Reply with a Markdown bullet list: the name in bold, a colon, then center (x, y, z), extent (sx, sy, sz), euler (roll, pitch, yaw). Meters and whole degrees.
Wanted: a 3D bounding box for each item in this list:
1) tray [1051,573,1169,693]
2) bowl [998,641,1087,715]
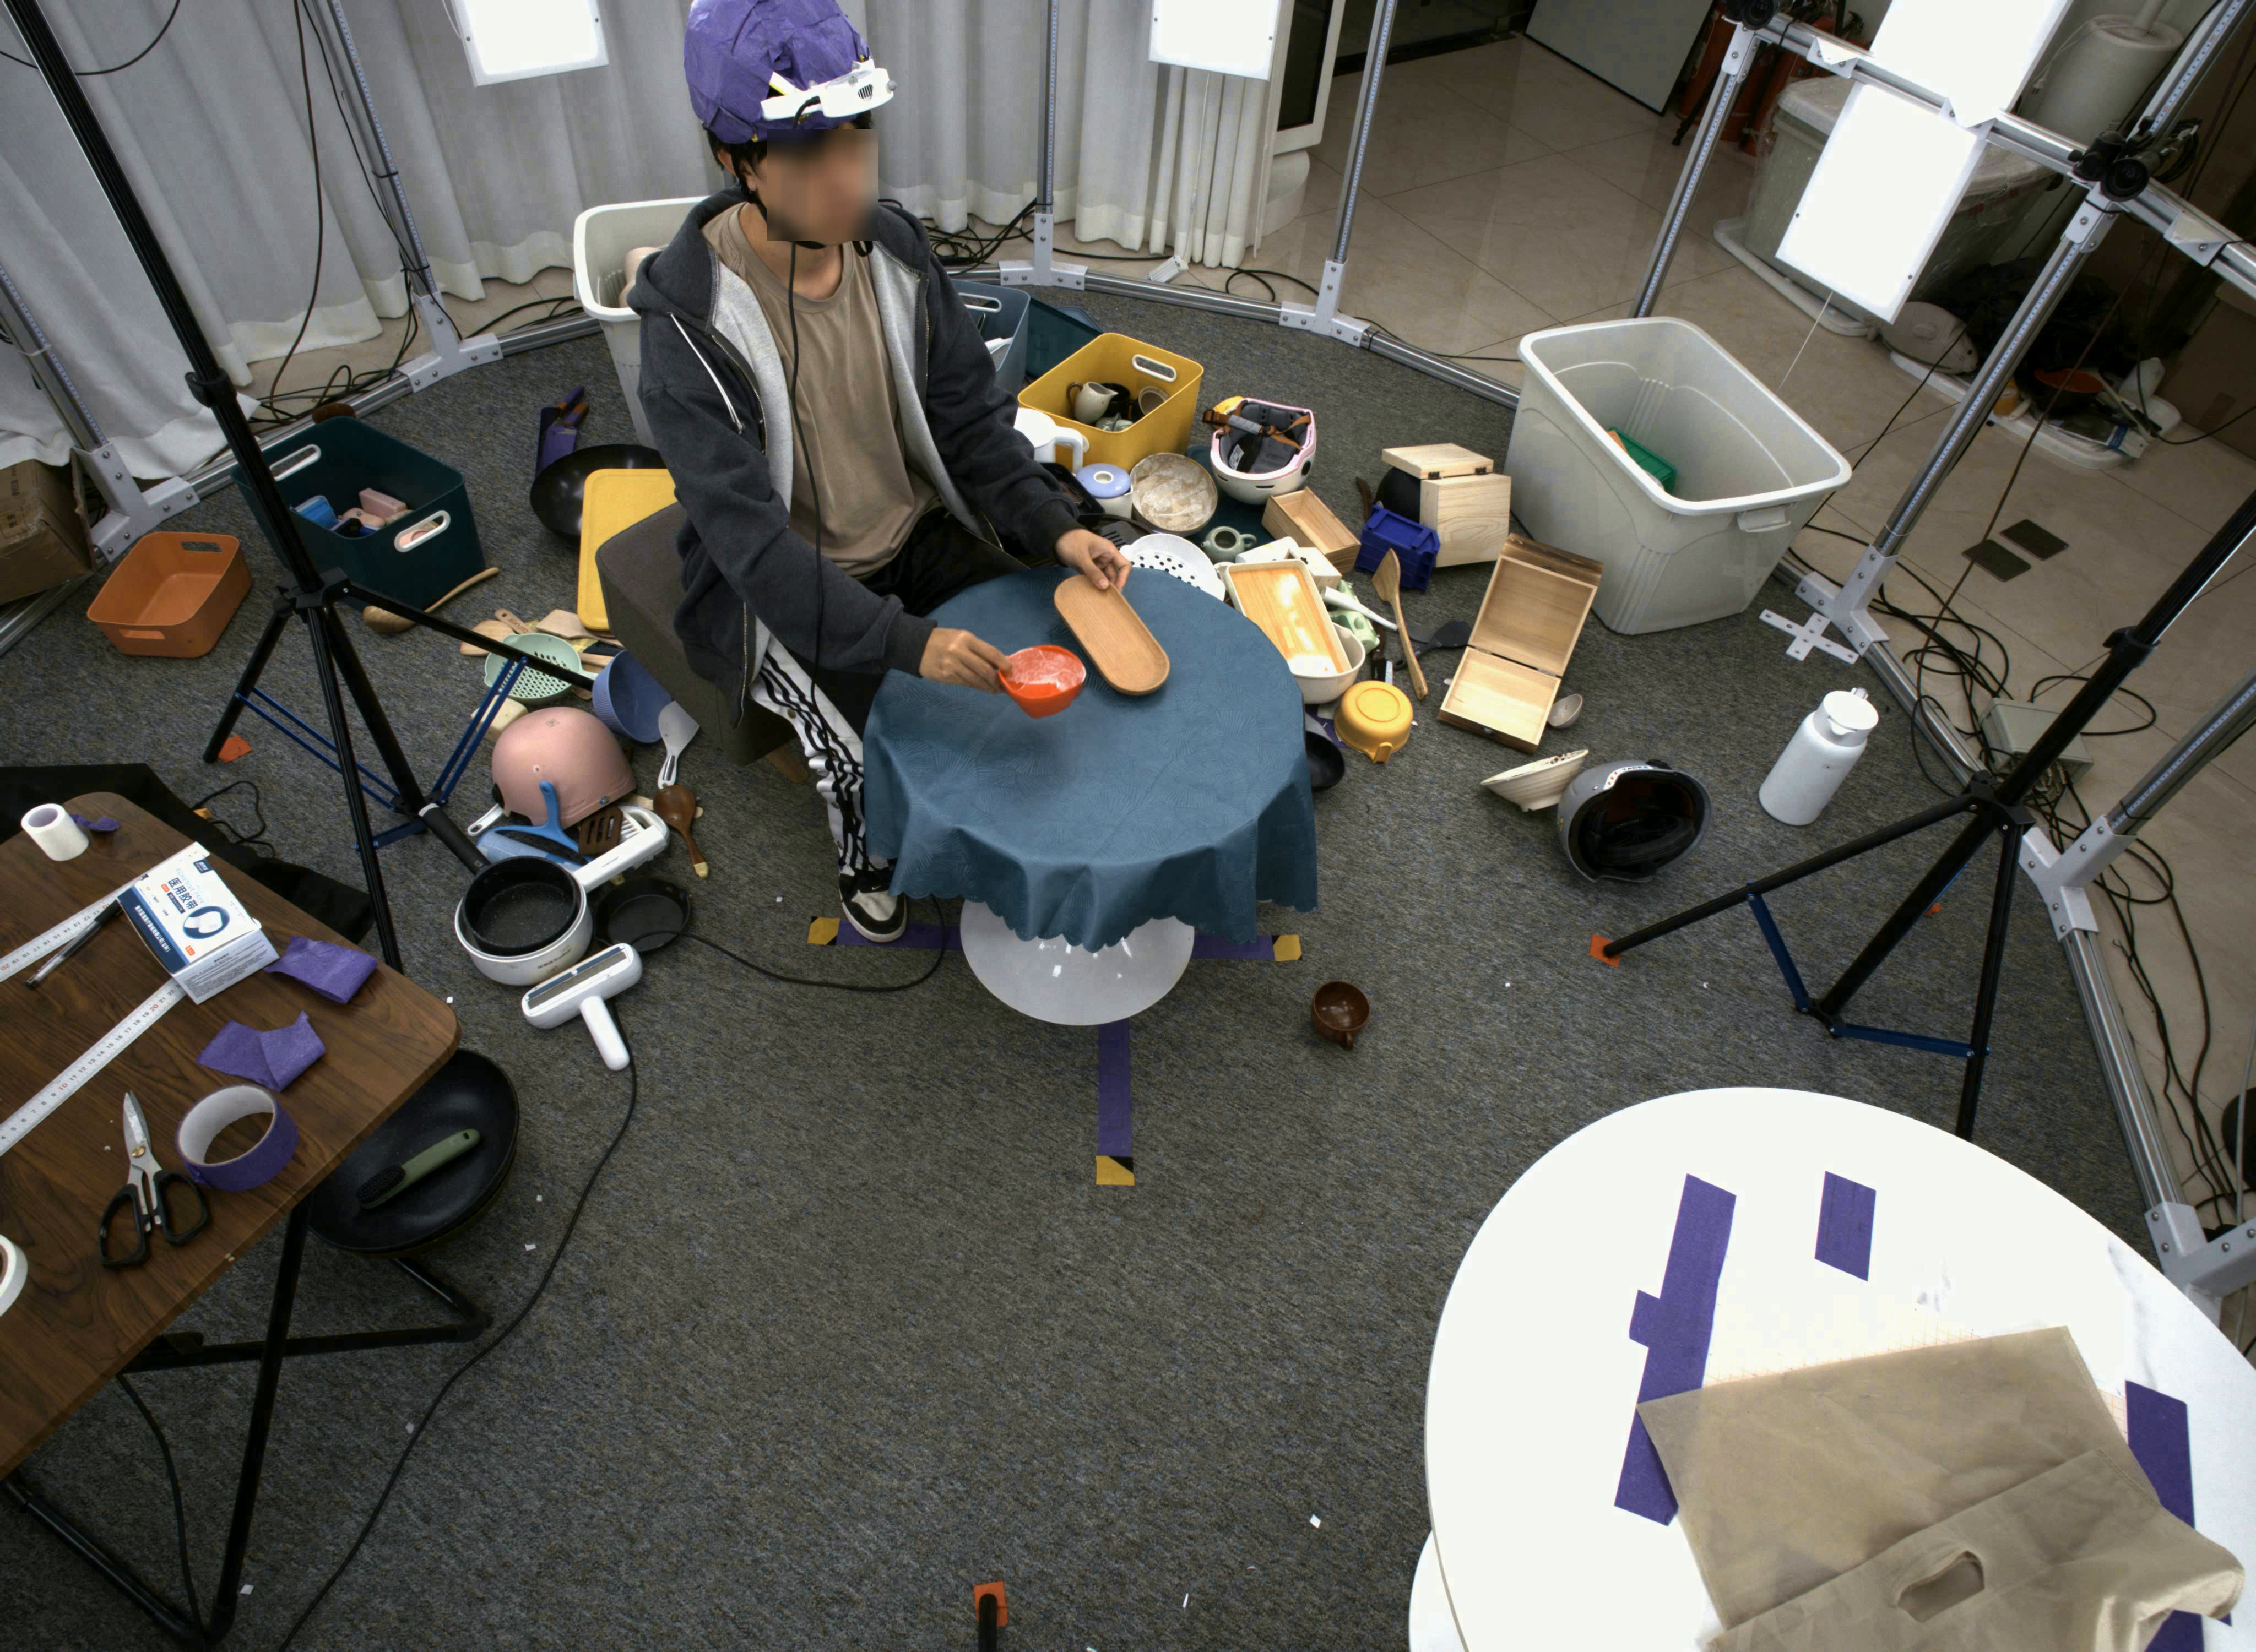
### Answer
- **tray**: center (-0.027, -0.281, 1.862), extent (0.102, 0.020, 0.235), euler (-24, 61, -22)
- **bowl**: center (-0.112, -0.191, 1.704), extent (0.119, 0.050, 0.122), euler (-1, 43, 1)
